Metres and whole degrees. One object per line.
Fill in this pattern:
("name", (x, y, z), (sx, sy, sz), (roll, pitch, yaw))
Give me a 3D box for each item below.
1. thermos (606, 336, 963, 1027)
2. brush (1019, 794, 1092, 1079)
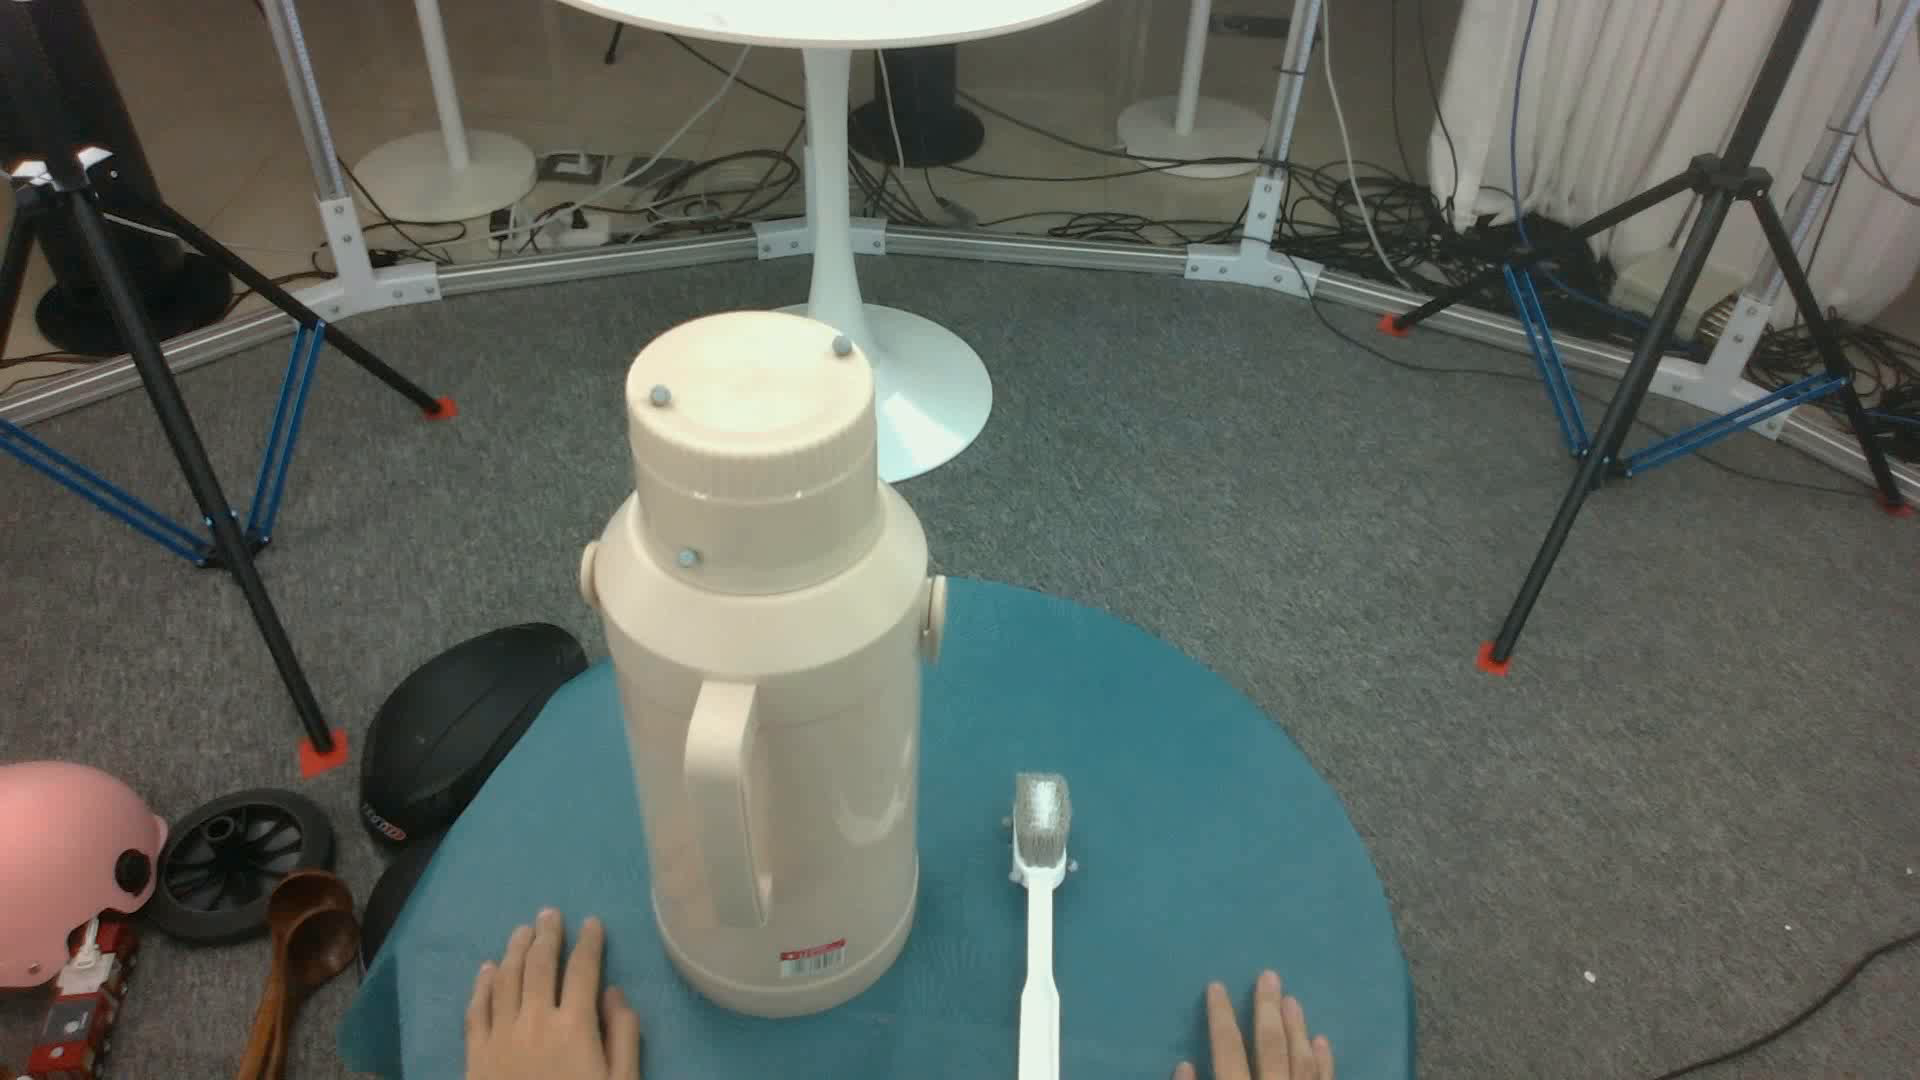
("thermos", (-0.093, 0.098, 0.722), (0.175, 0.404, 0.208), (6, 42, 1))
("brush", (0.054, 0.253, 0.816), (0.034, 0.050, 0.245), (10, 42, 0))
